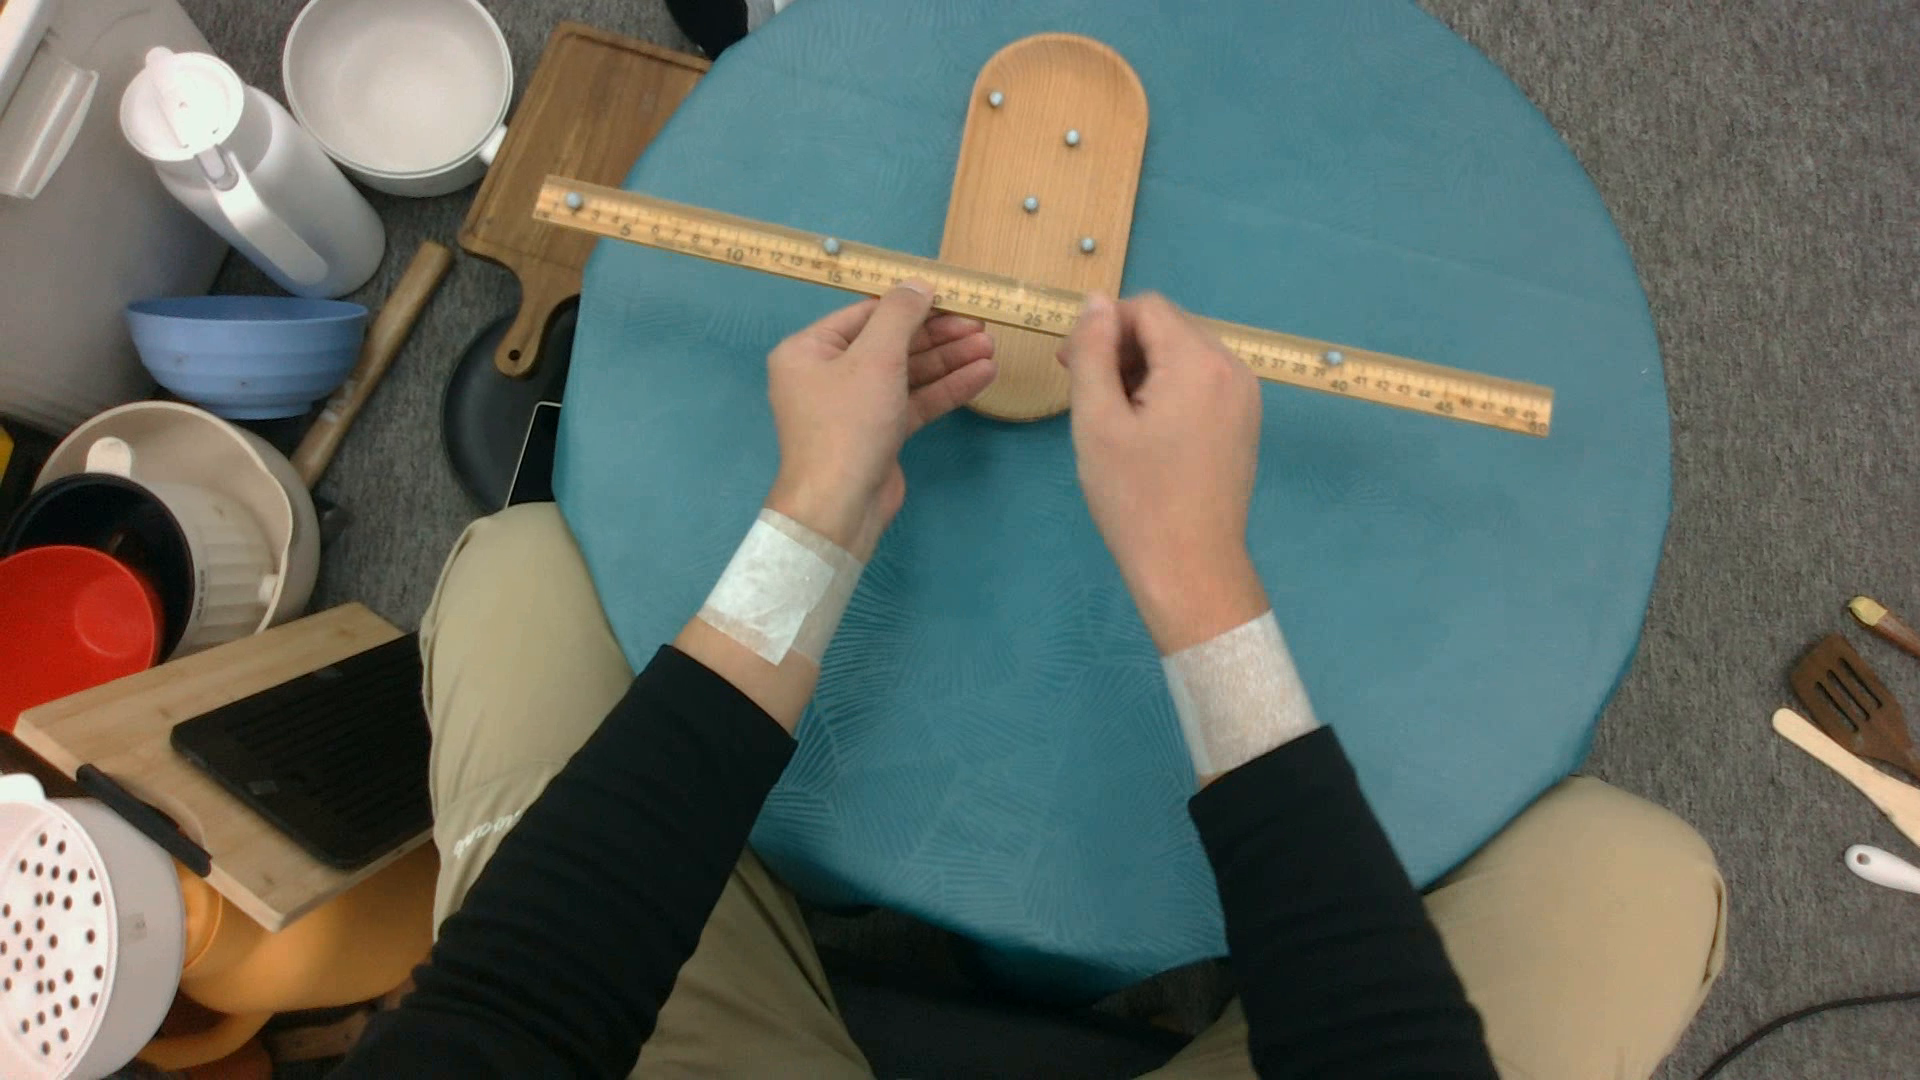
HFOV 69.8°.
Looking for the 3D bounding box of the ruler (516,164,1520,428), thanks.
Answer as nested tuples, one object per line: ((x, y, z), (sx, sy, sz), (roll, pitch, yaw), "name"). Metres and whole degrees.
((0.025, -0.120, 0.673), (0.500, 0.006, 0.027), (13, 76, 2), "ruler")

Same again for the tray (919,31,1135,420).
((0.038, -0.176, 0.761), (0.101, 0.020, 0.231), (8, 78, 2), "tray")
